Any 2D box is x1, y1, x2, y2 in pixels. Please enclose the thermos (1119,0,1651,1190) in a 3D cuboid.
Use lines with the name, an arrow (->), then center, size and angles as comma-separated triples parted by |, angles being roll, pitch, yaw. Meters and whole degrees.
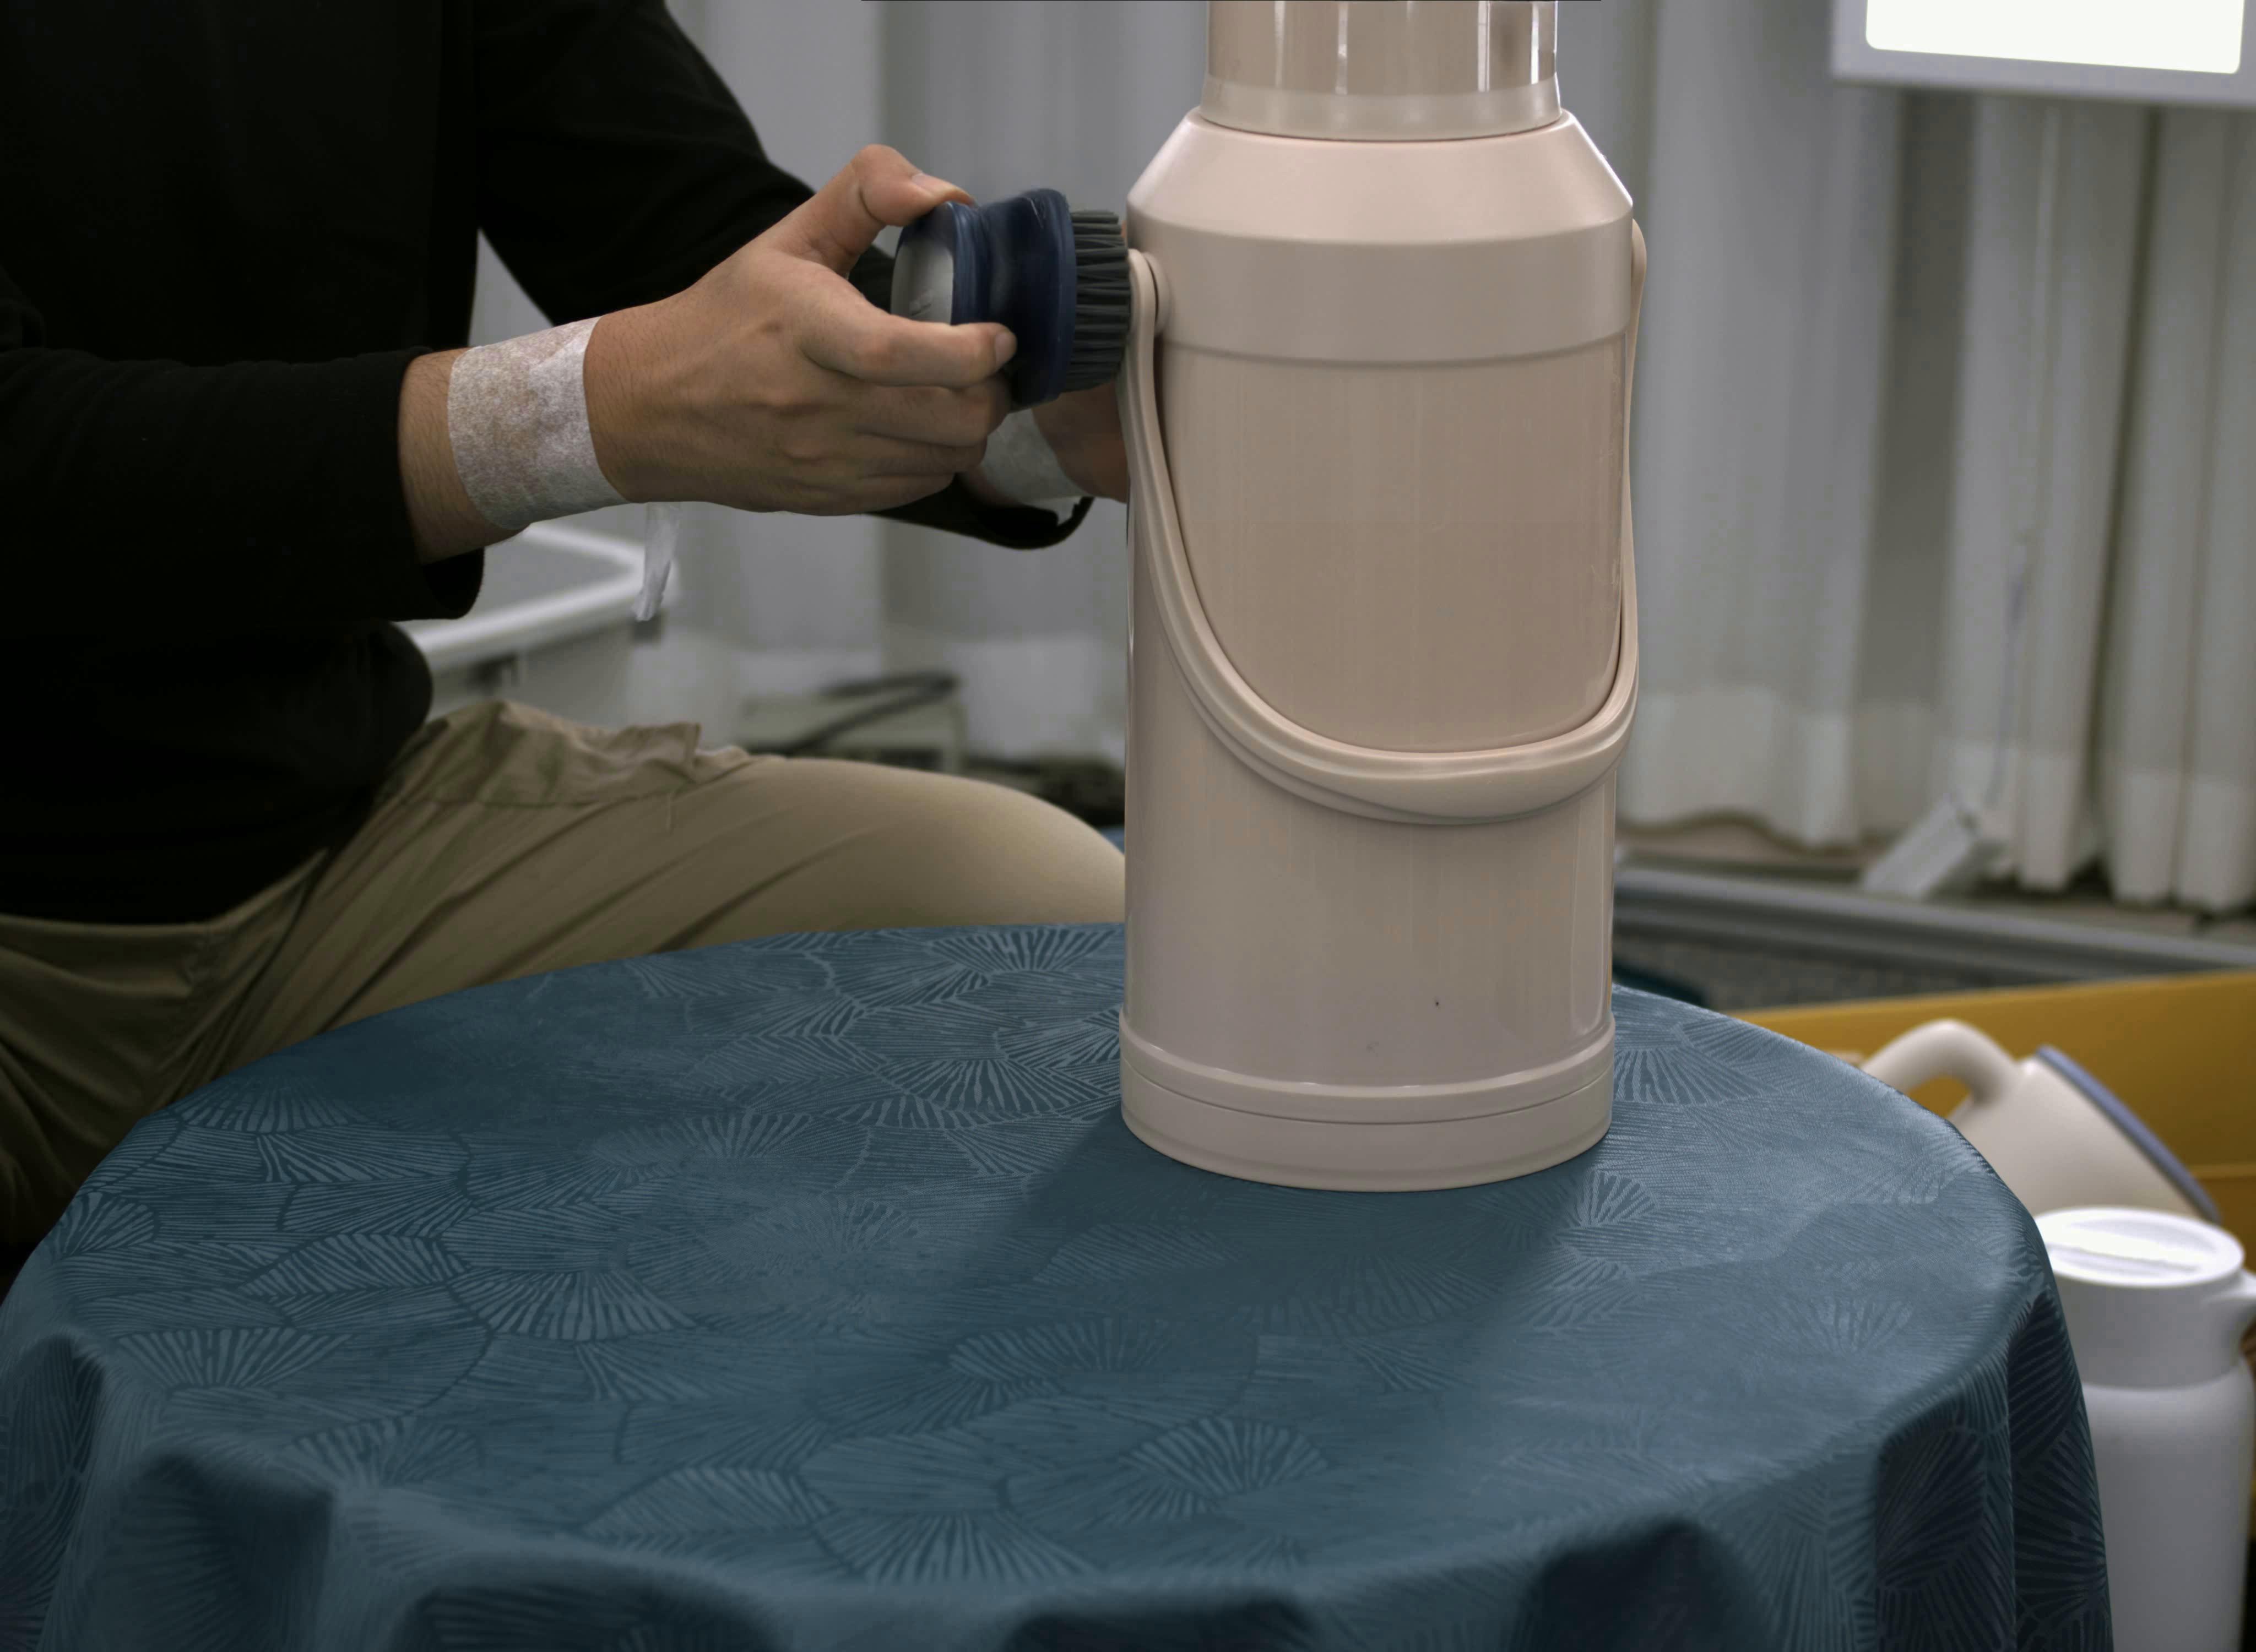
thermos -> 0.074, -0.103, 1.655 | 0.176, 0.410, 0.204 | -9, 19, -24

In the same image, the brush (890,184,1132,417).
brush -> -0.035, -0.161, 1.620 | 0.061, 0.068, 0.121 | -1, 2, -13
